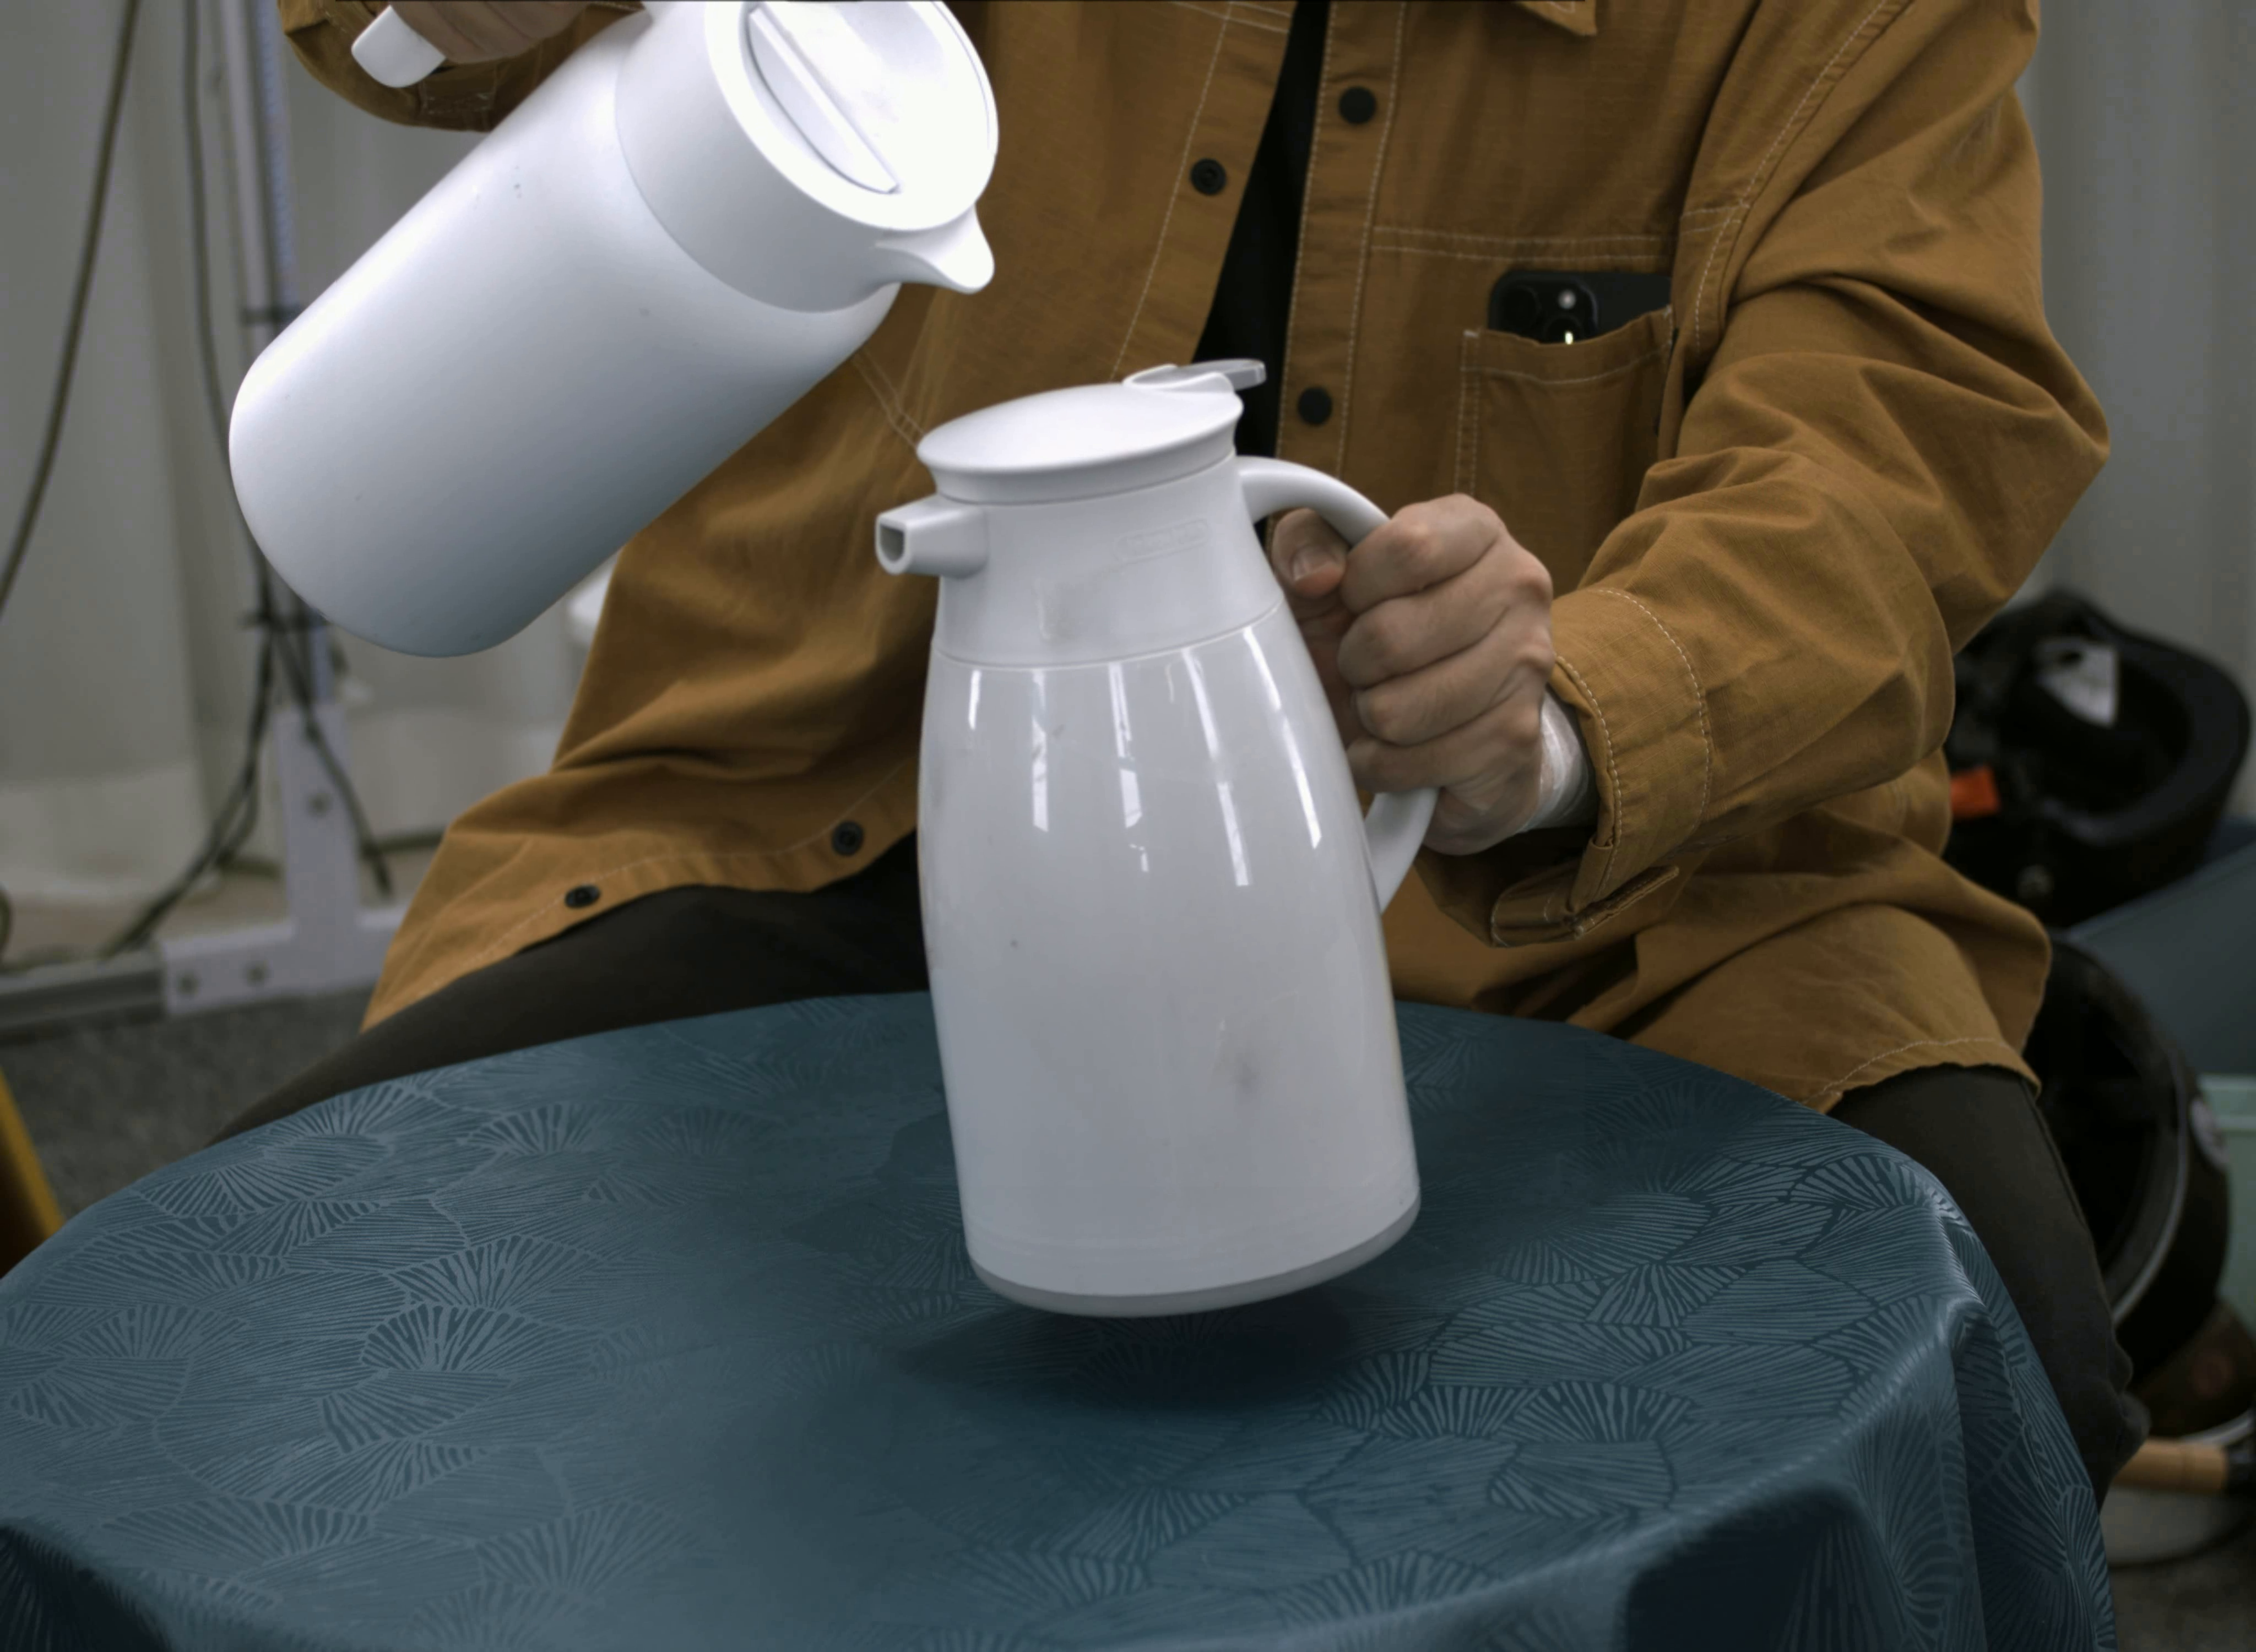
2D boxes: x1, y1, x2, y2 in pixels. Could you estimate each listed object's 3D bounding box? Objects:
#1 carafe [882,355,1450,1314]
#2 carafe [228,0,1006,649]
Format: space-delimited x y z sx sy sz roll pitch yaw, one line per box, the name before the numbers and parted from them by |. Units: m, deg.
carafe | 0.018 -0.006 1.552 0.167 0.247 0.133 -15 16 -27
carafe | -0.164 -0.171 1.611 0.267 0.173 0.124 -35 4 46
